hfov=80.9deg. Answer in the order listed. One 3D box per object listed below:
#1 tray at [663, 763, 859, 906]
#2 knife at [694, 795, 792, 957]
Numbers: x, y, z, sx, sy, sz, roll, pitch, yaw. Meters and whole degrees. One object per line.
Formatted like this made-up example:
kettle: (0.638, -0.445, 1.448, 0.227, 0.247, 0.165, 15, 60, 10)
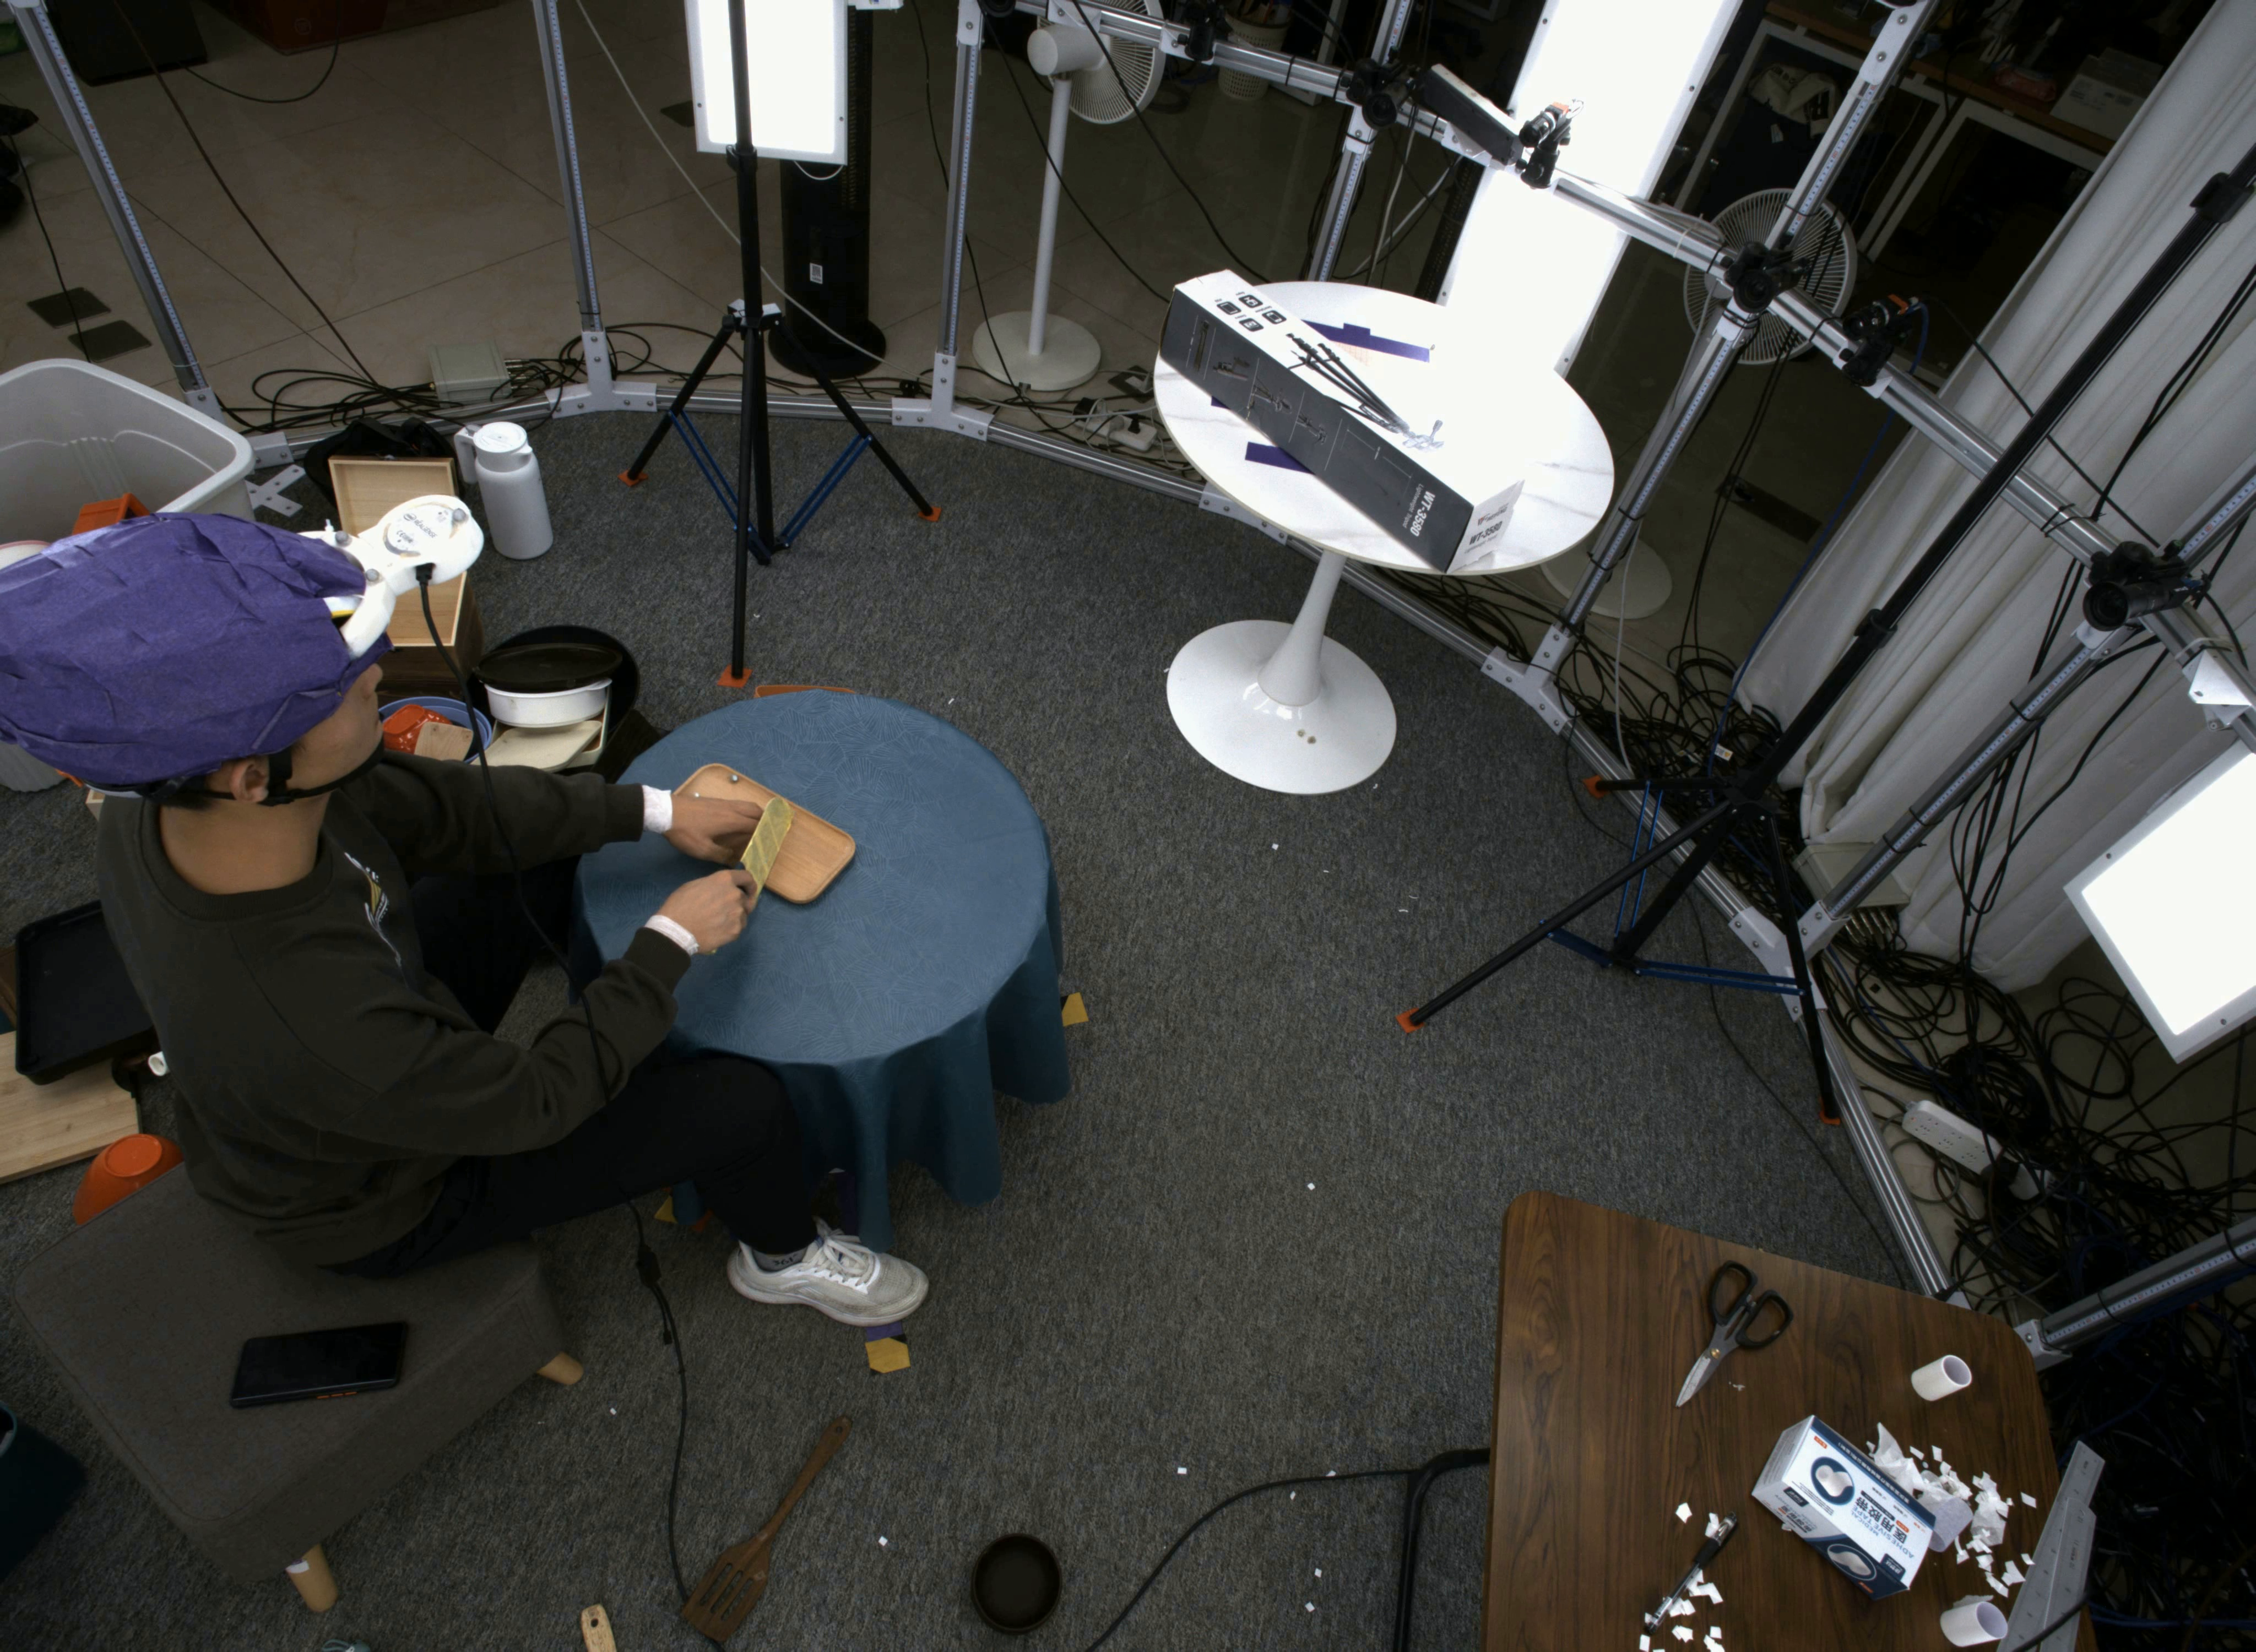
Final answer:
tray: (-0.484, 0.009, 1.707, 0.247, 0.023, 0.130, 30, 56, 5)
knife: (-0.470, 0.061, 1.607, 0.026, 0.084, 0.285, 3, 41, 11)
